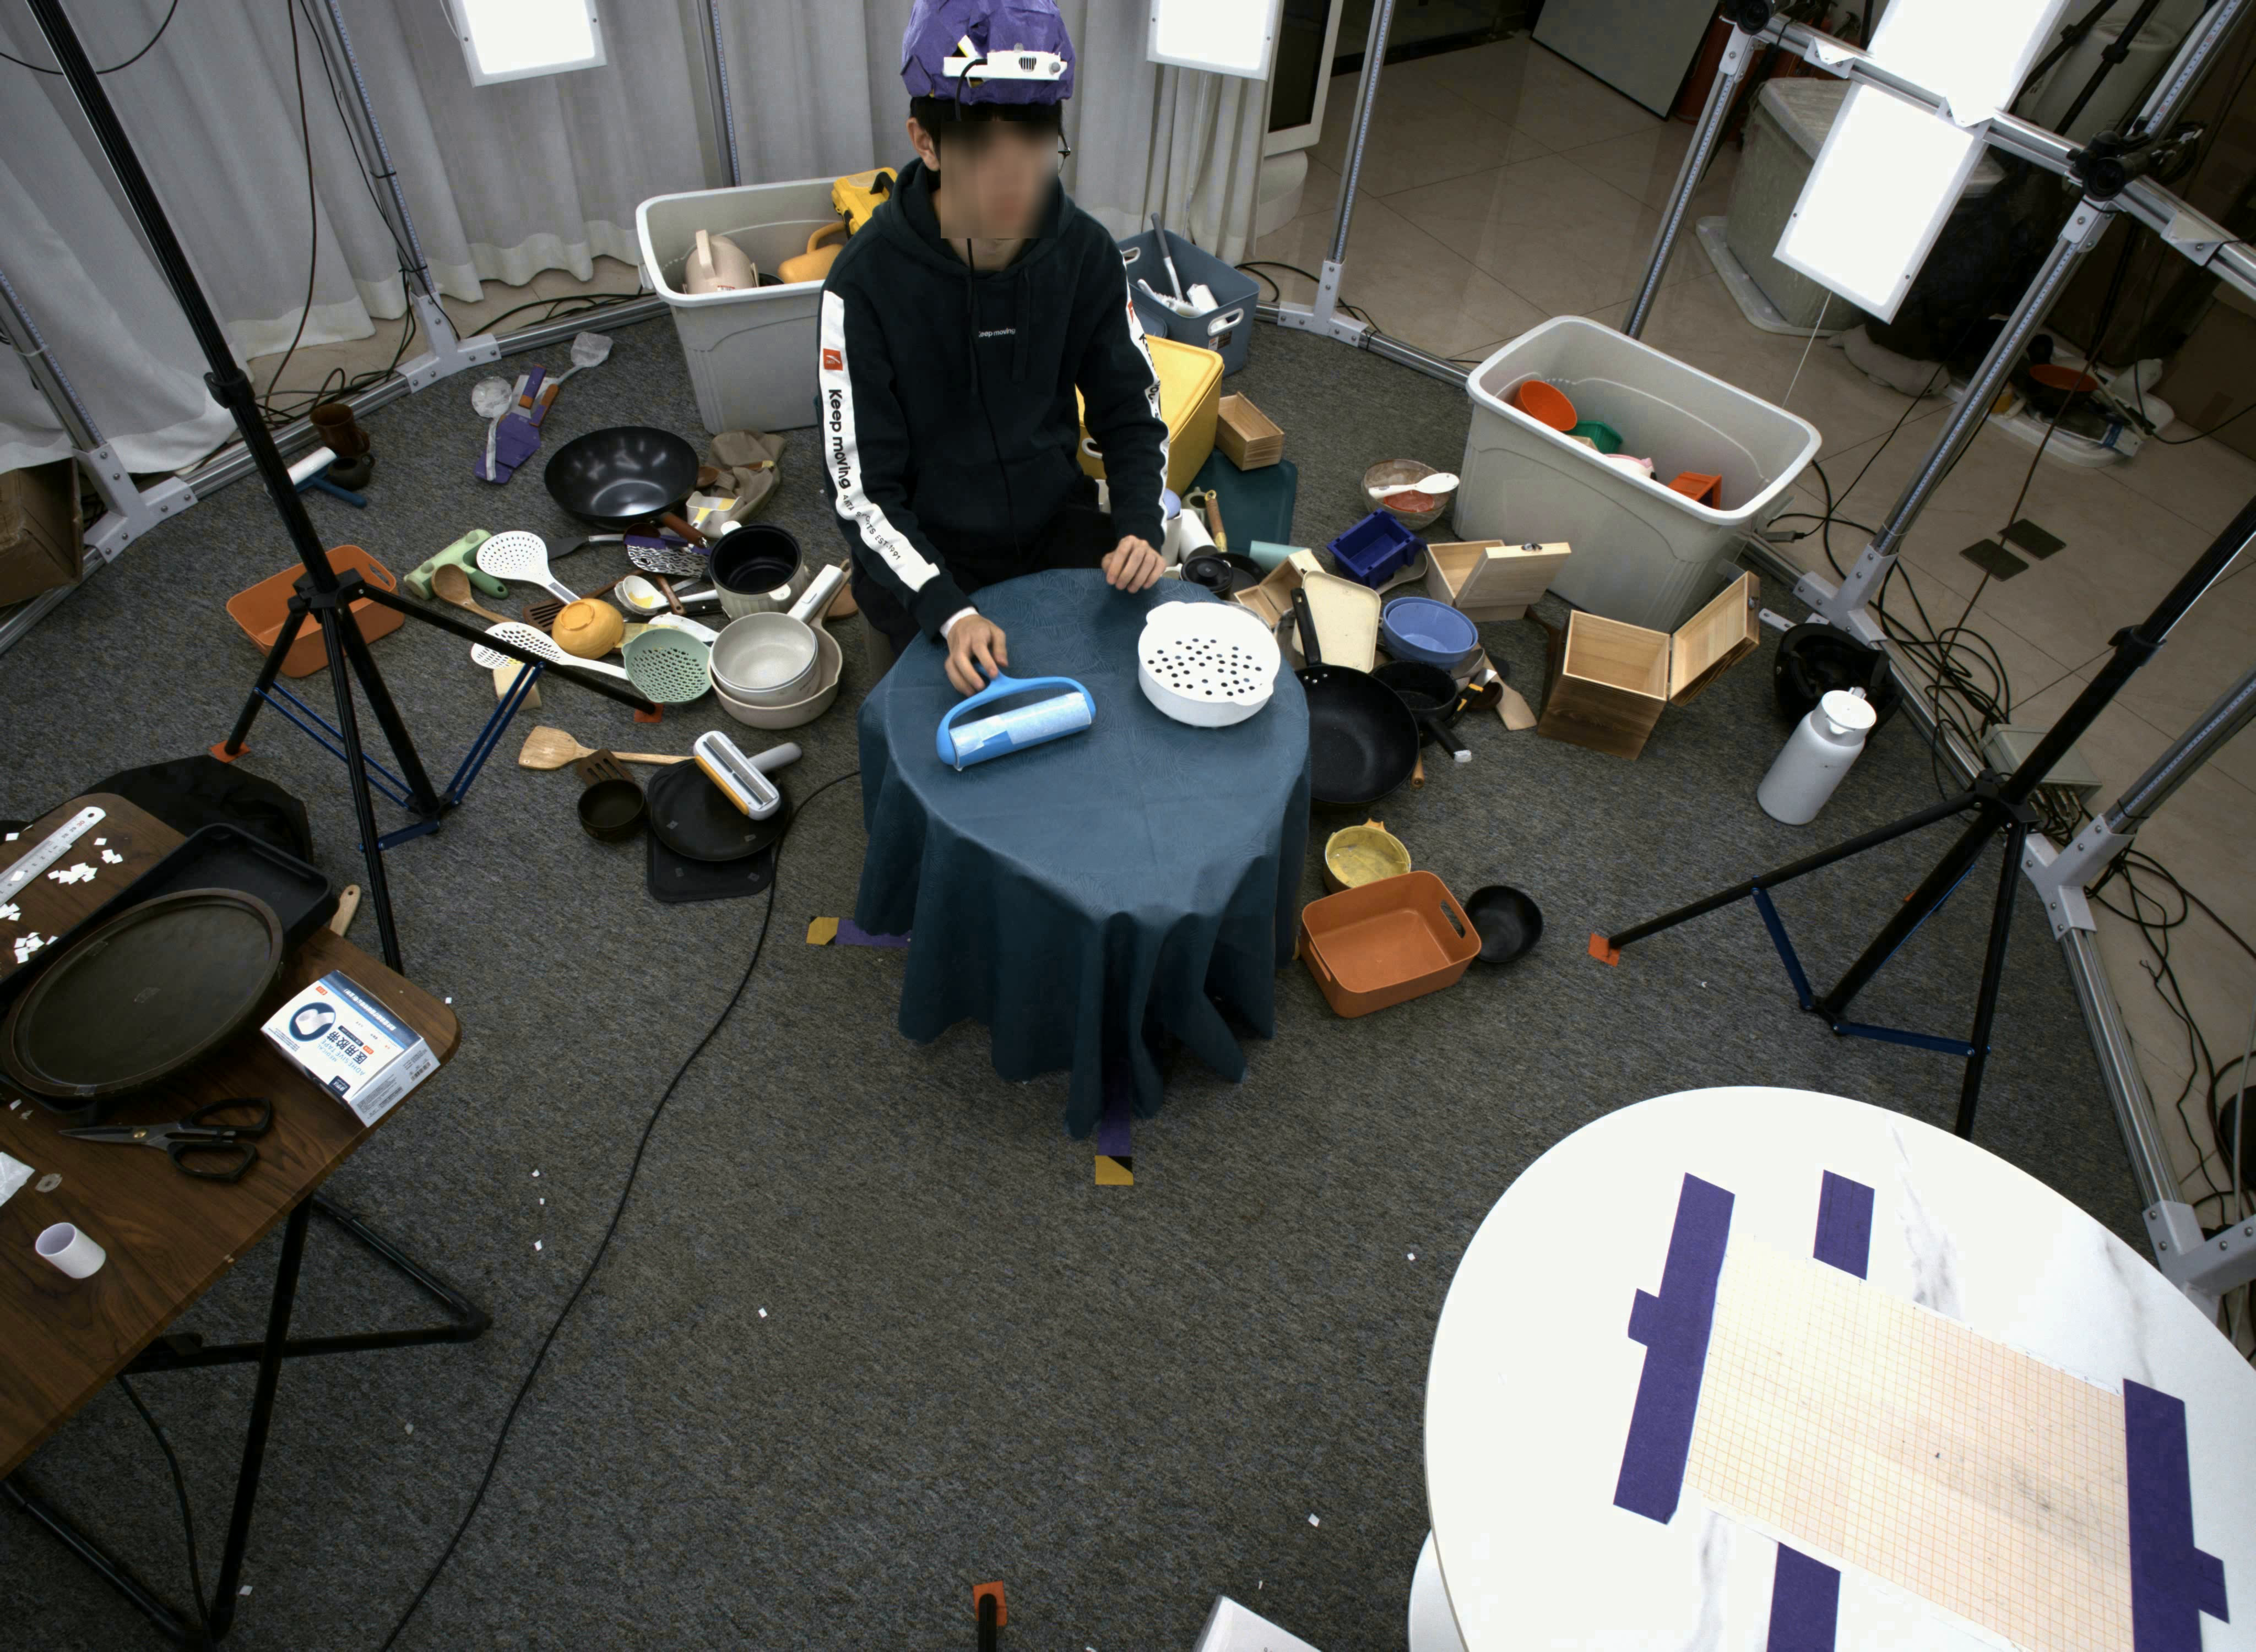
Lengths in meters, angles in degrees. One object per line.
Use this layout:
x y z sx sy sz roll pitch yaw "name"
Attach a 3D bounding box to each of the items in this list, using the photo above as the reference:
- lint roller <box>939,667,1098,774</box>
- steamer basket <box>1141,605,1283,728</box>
-0.175 -0.171 1.767 0.229 0.066 0.184 -24 58 -19 "lint roller"
0.116 -0.225 1.827 0.203 0.067 0.235 -28 55 -26 "steamer basket"
